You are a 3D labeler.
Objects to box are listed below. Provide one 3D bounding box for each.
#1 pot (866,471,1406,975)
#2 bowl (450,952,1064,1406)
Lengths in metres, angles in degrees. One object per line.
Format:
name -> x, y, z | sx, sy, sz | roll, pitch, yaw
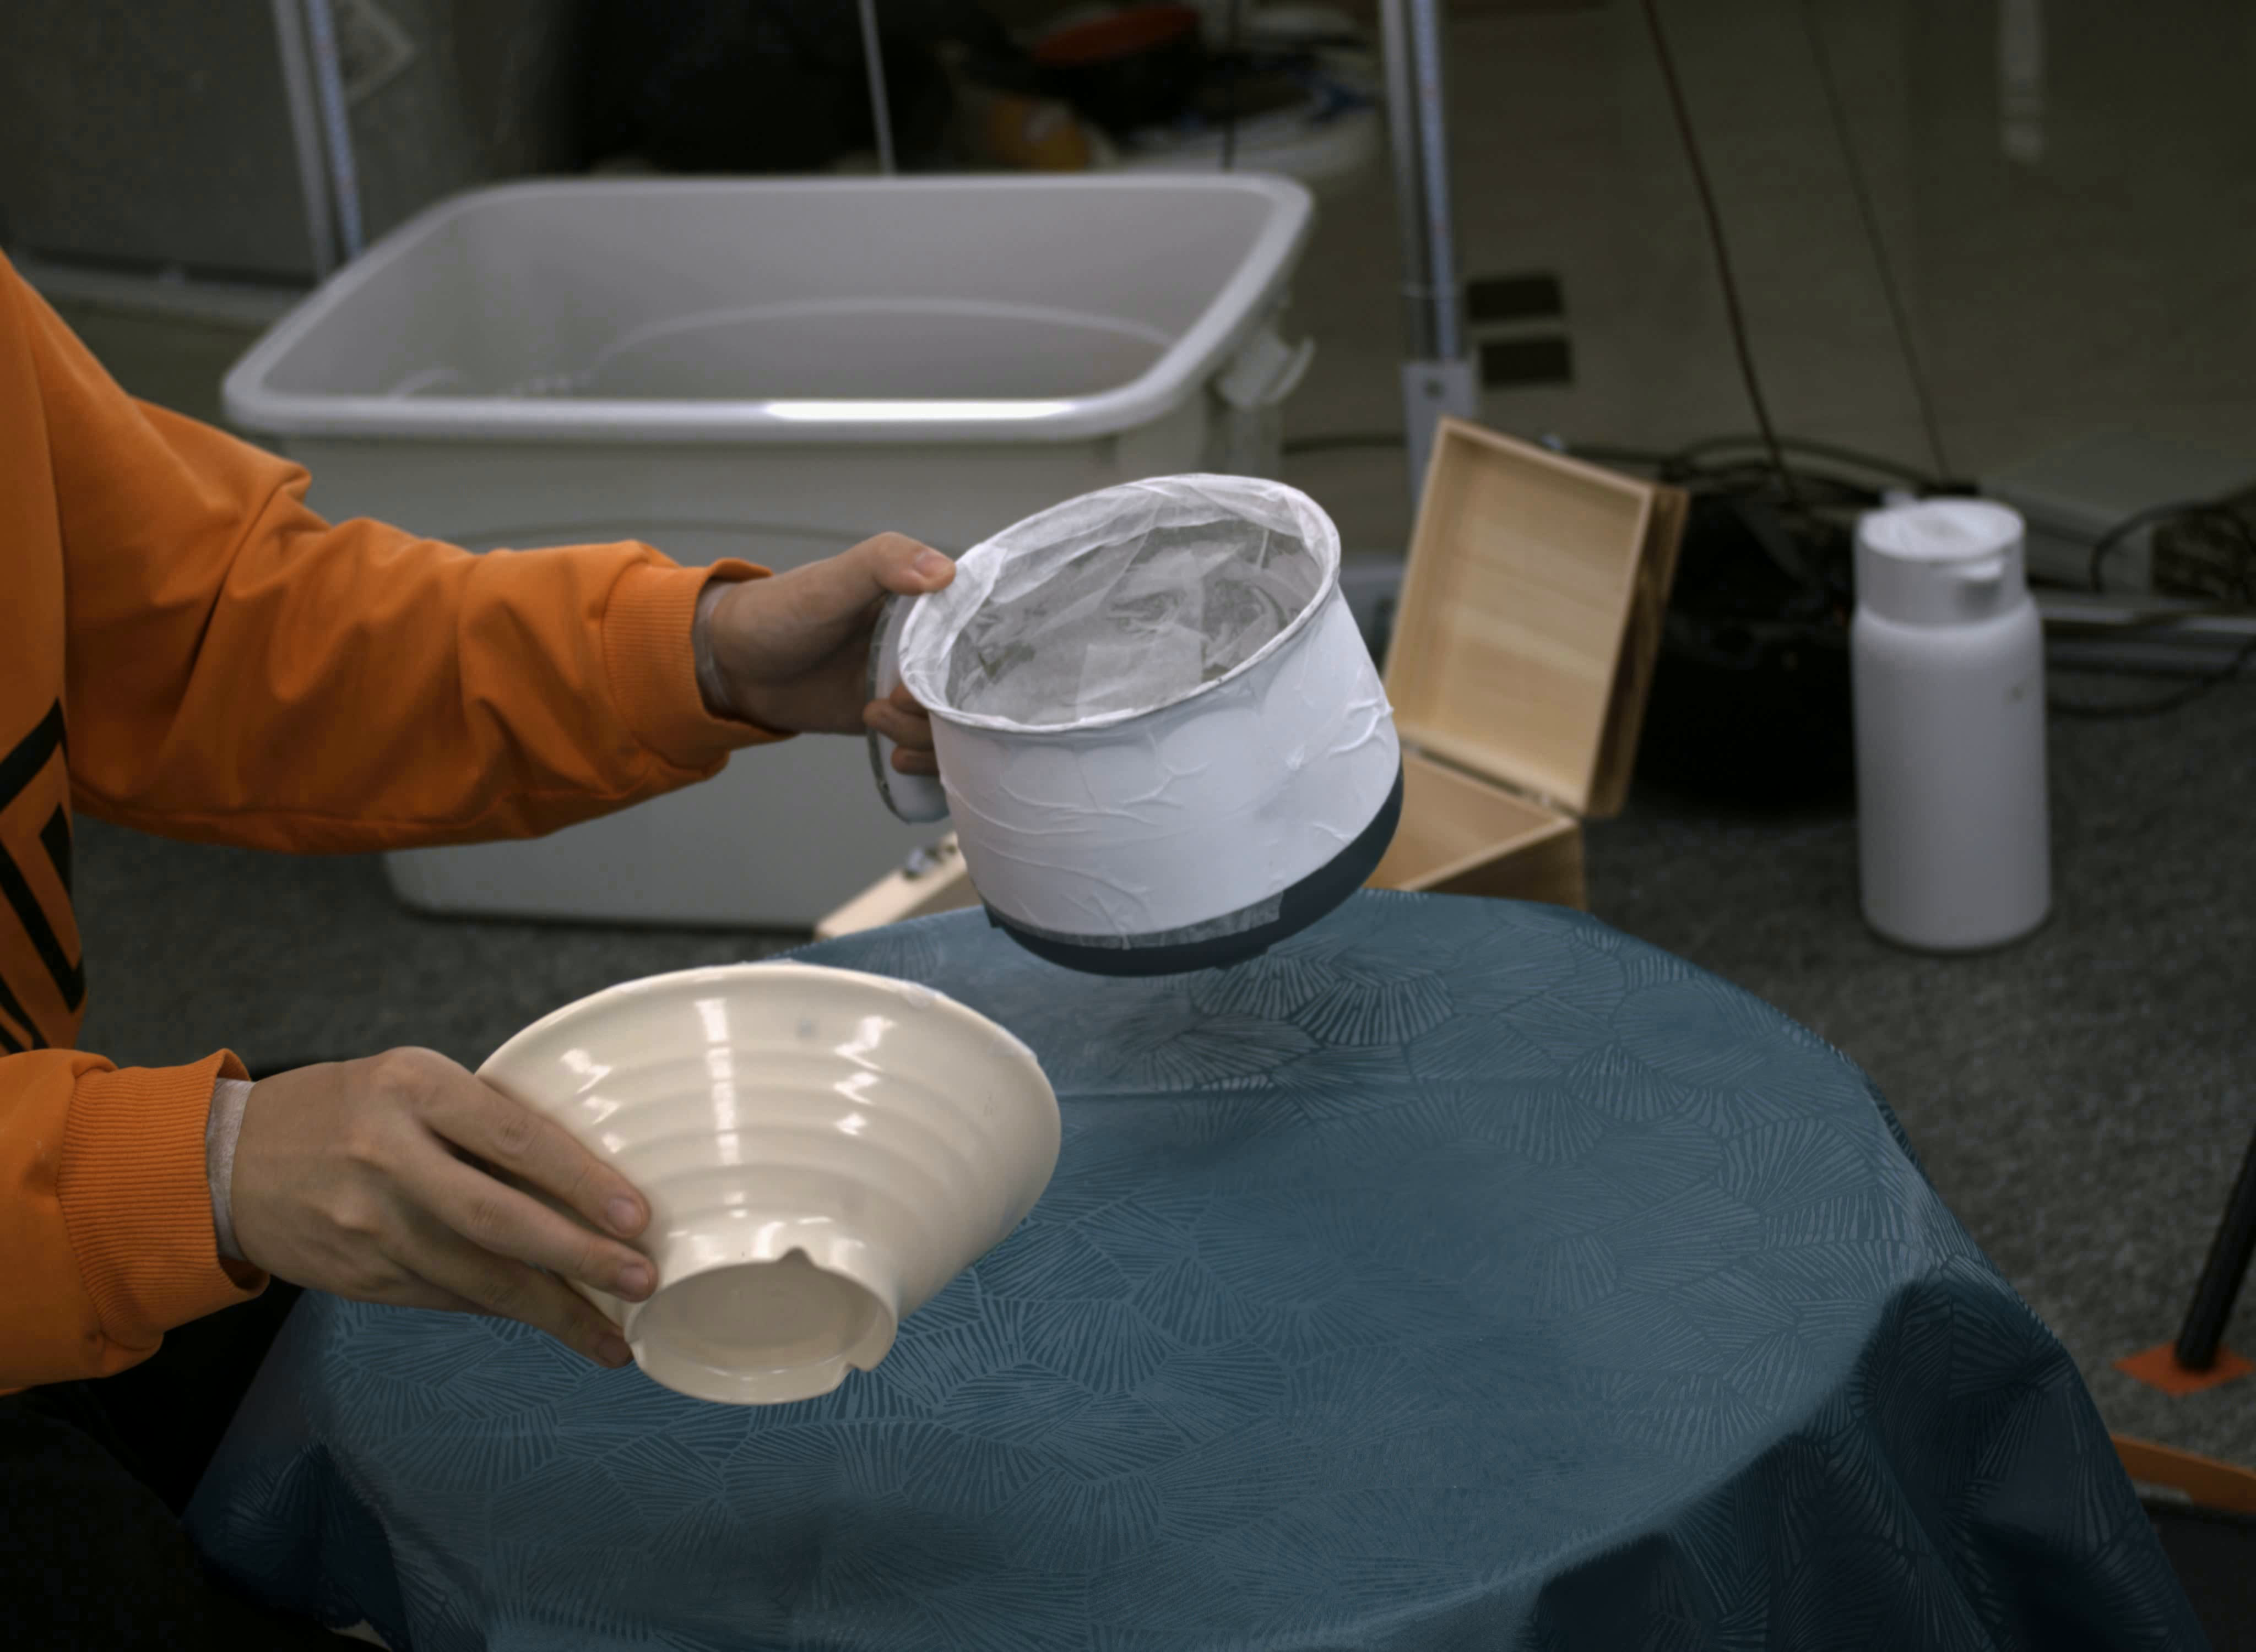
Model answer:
pot -> -0.010, -0.039, 2.213 | 0.233, 0.139, 0.176 | 6, 39, 33
bowl -> -0.118, 0.133, 1.851 | 0.203, 0.208, 0.076 | -7, 52, -1
